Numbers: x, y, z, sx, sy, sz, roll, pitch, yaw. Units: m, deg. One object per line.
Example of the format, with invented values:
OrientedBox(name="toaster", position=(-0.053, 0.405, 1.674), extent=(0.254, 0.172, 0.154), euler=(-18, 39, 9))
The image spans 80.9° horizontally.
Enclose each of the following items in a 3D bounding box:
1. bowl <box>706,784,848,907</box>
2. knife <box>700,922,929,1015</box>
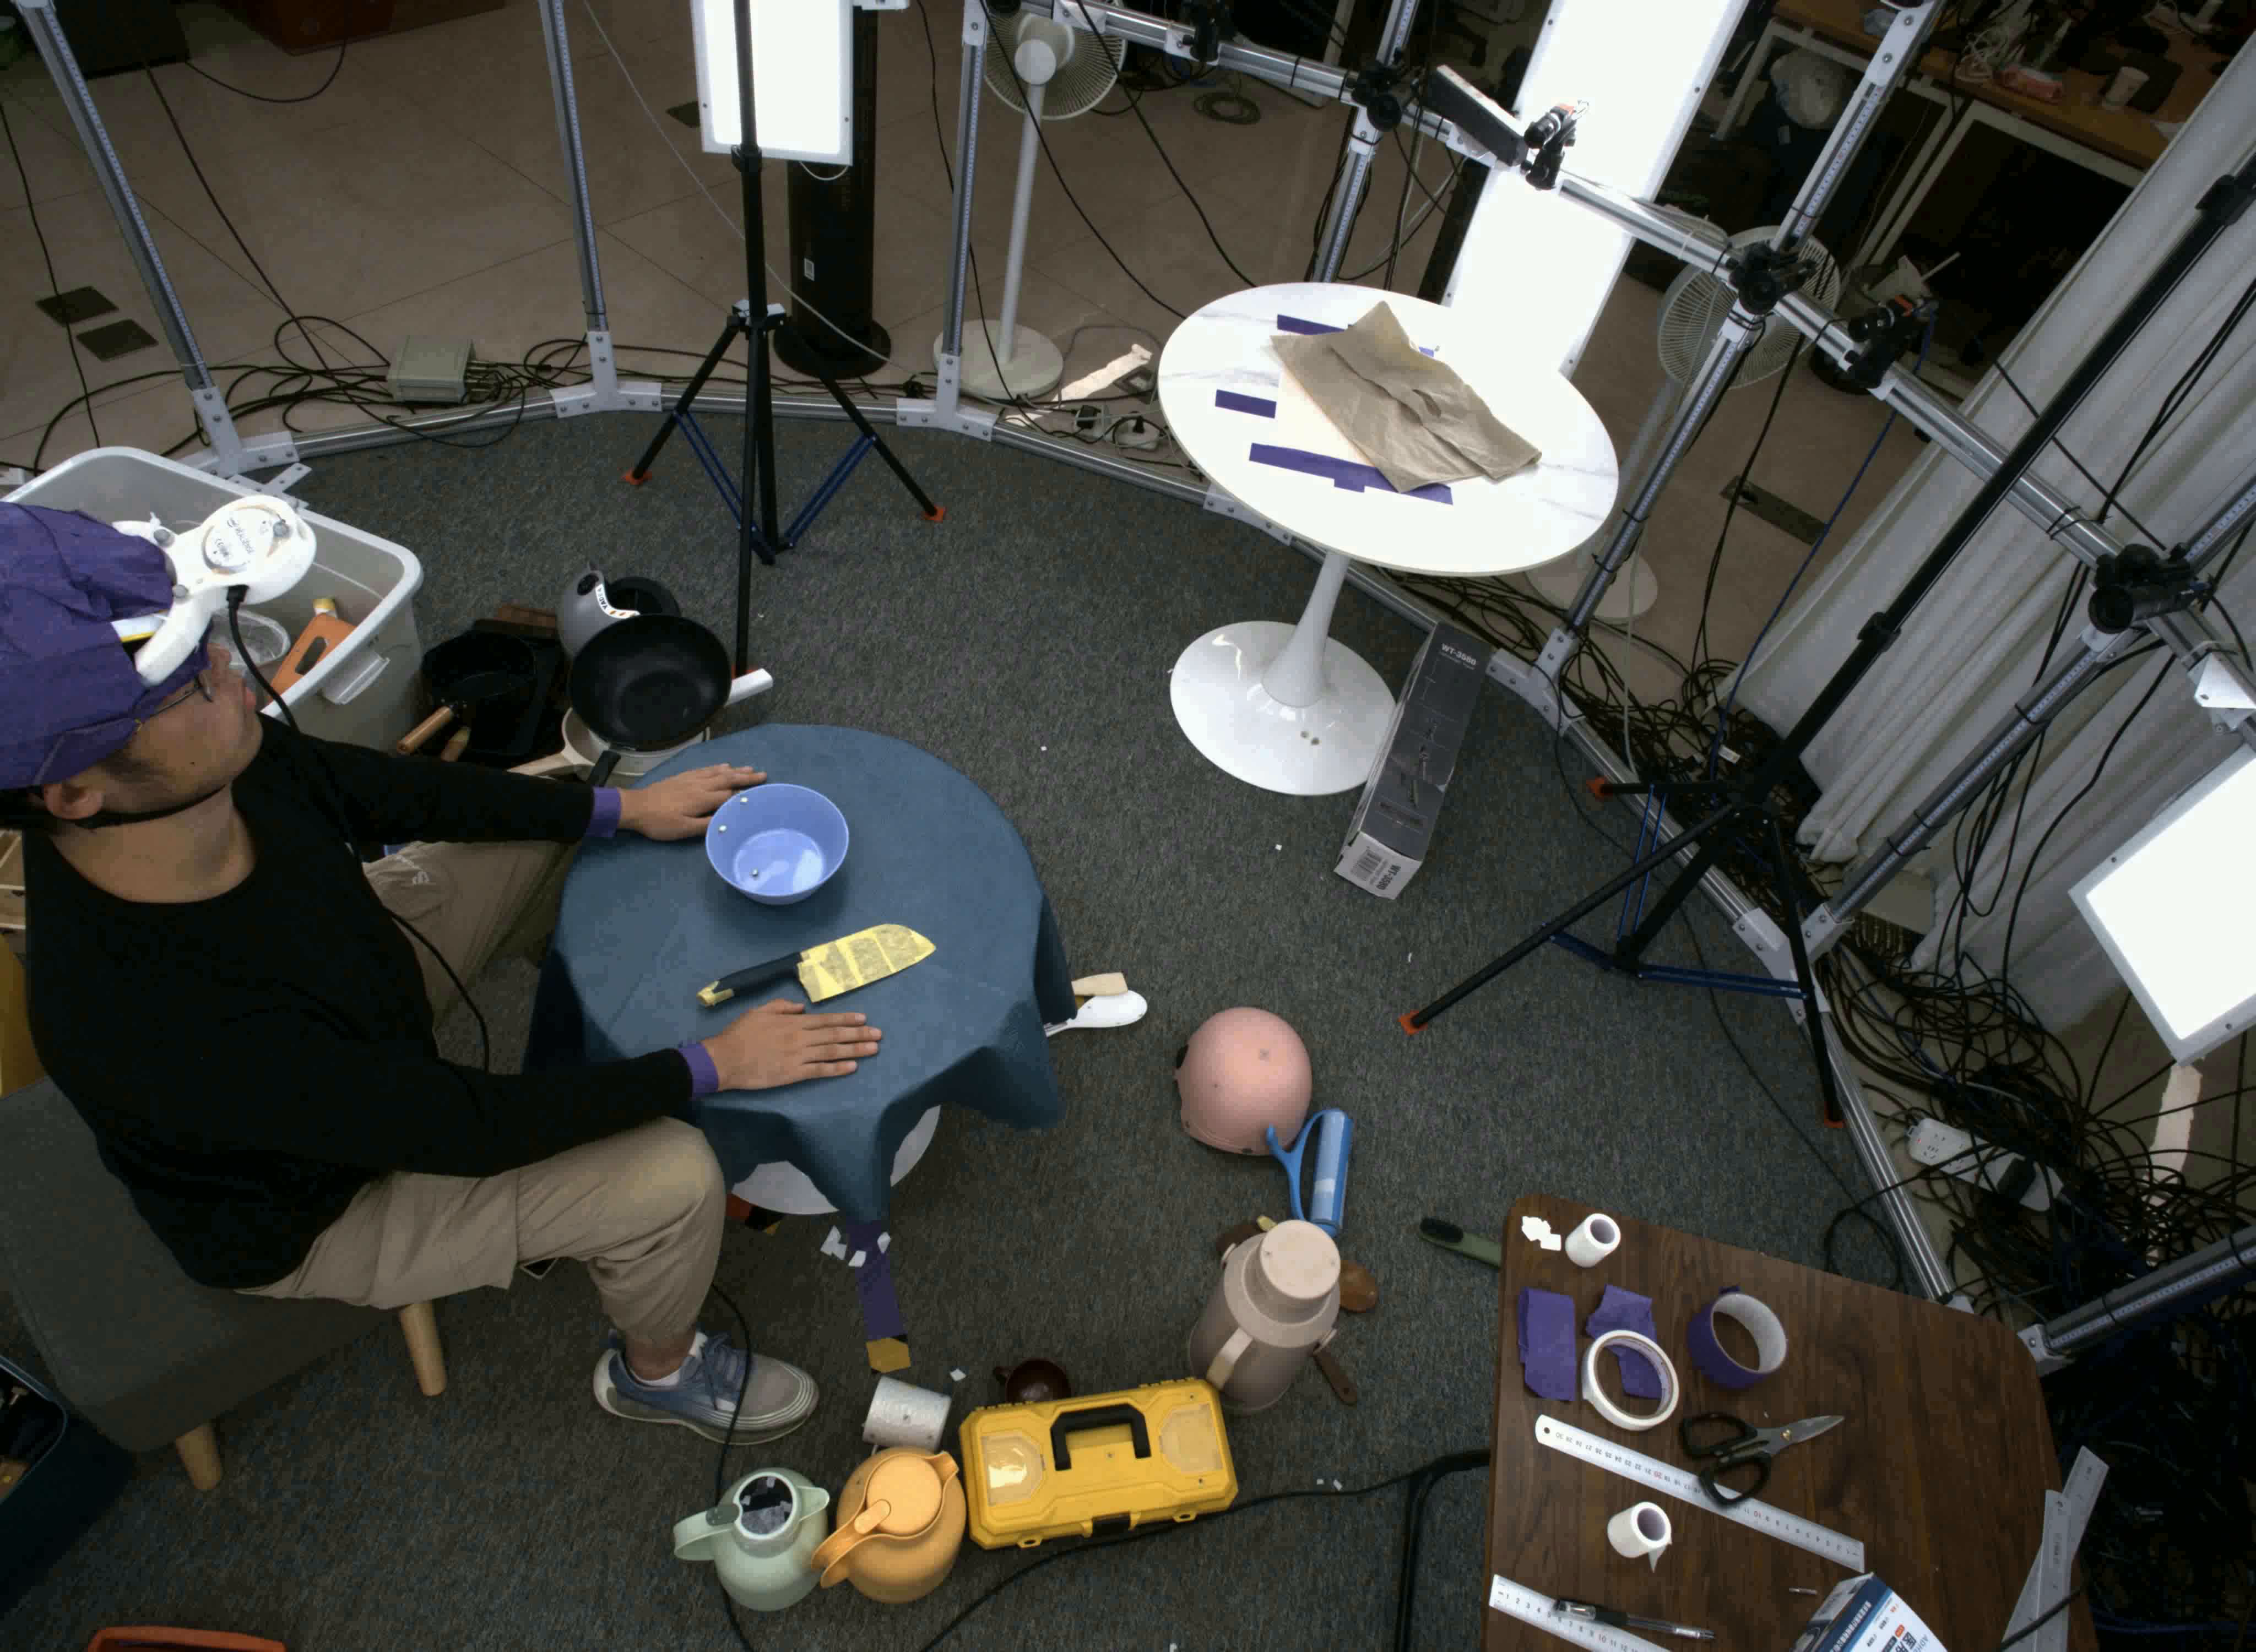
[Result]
OrientedBox(name="bowl", position=(-0.444, 0.034, 1.646), extent=(0.176, 0.071, 0.173), euler=(8, 53, -9))
OrientedBox(name="knife", position=(-0.378, 0.178, 1.591), extent=(0.291, 0.028, 0.079), euler=(-18, 58, -27))
